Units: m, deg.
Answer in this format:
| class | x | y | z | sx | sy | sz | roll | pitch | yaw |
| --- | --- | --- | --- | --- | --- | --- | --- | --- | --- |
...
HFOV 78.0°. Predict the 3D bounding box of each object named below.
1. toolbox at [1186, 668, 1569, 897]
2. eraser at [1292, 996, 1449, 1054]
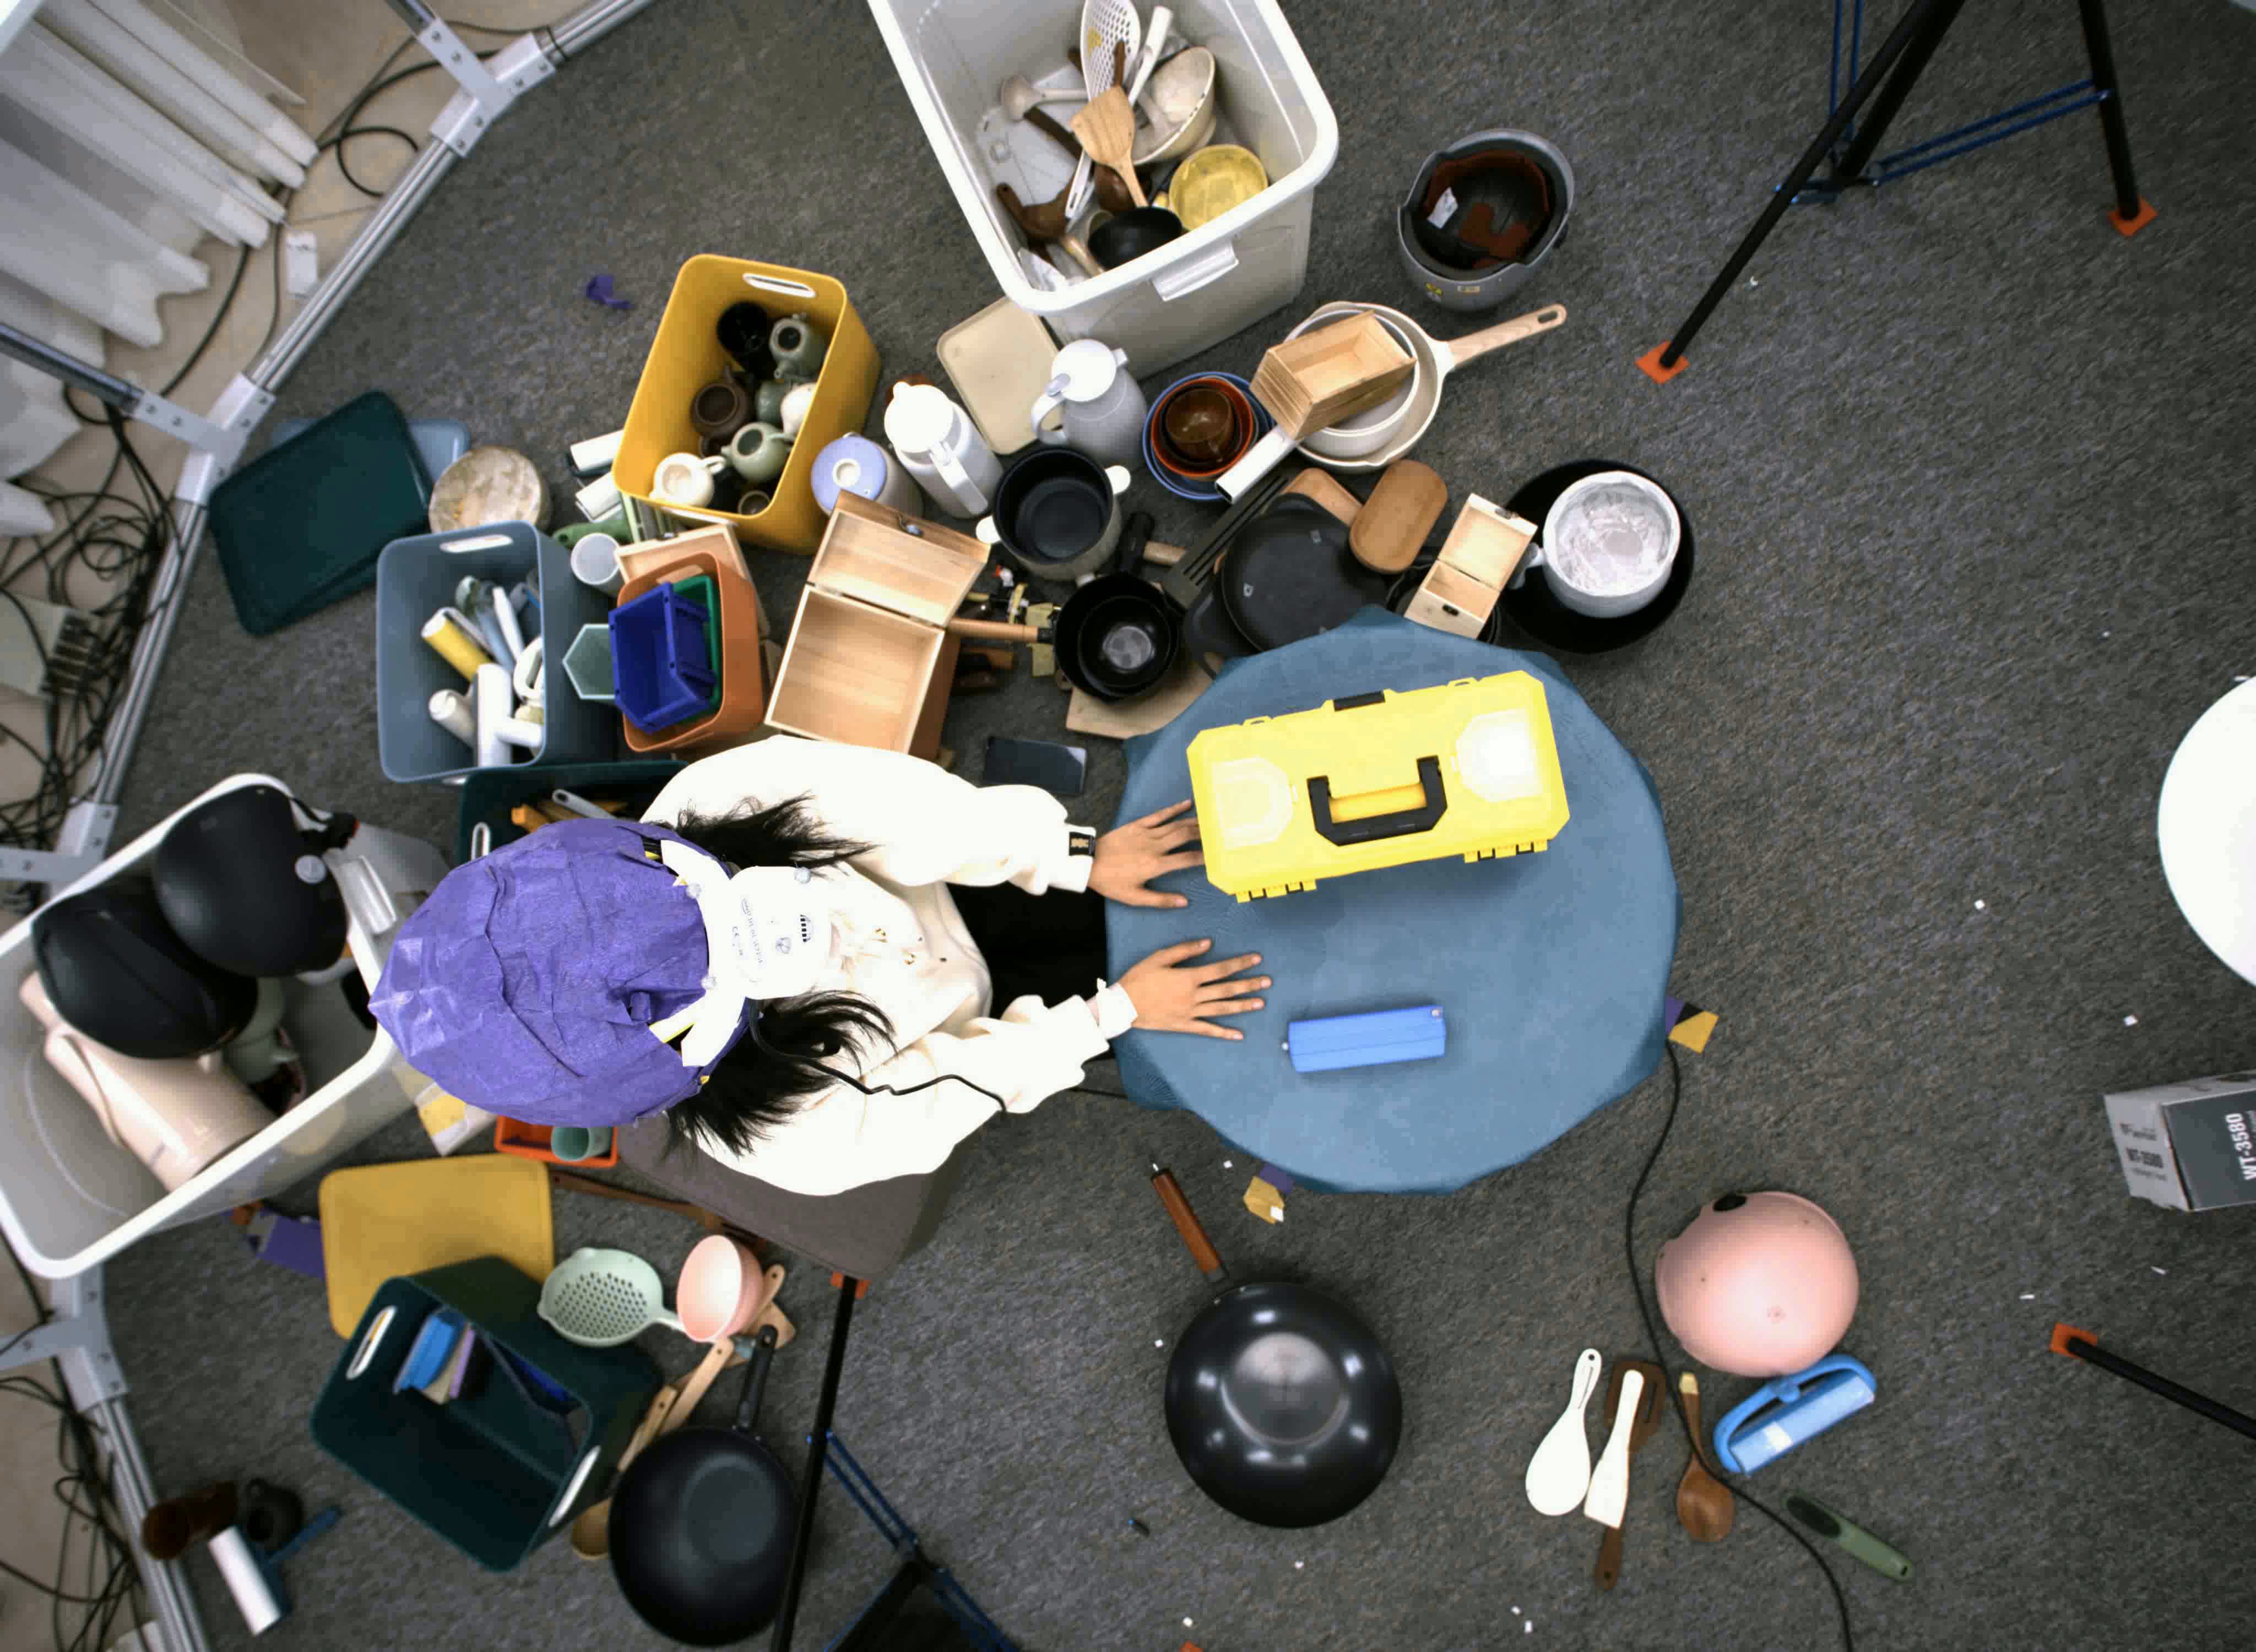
| class | x | y | z | sx | sy | sz | roll | pitch | yaw |
| --- | --- | --- | --- | --- | --- | --- | --- | --- | --- |
| toolbox | 0.246 | -0.038 | 1.383 | 0.353 | 0.173 | 0.180 | -10 | 85 | 10 |
| eraser | 0.250 | 0.204 | 1.430 | 0.163 | 0.047 | 0.053 | 2 | 88 | 8 |
